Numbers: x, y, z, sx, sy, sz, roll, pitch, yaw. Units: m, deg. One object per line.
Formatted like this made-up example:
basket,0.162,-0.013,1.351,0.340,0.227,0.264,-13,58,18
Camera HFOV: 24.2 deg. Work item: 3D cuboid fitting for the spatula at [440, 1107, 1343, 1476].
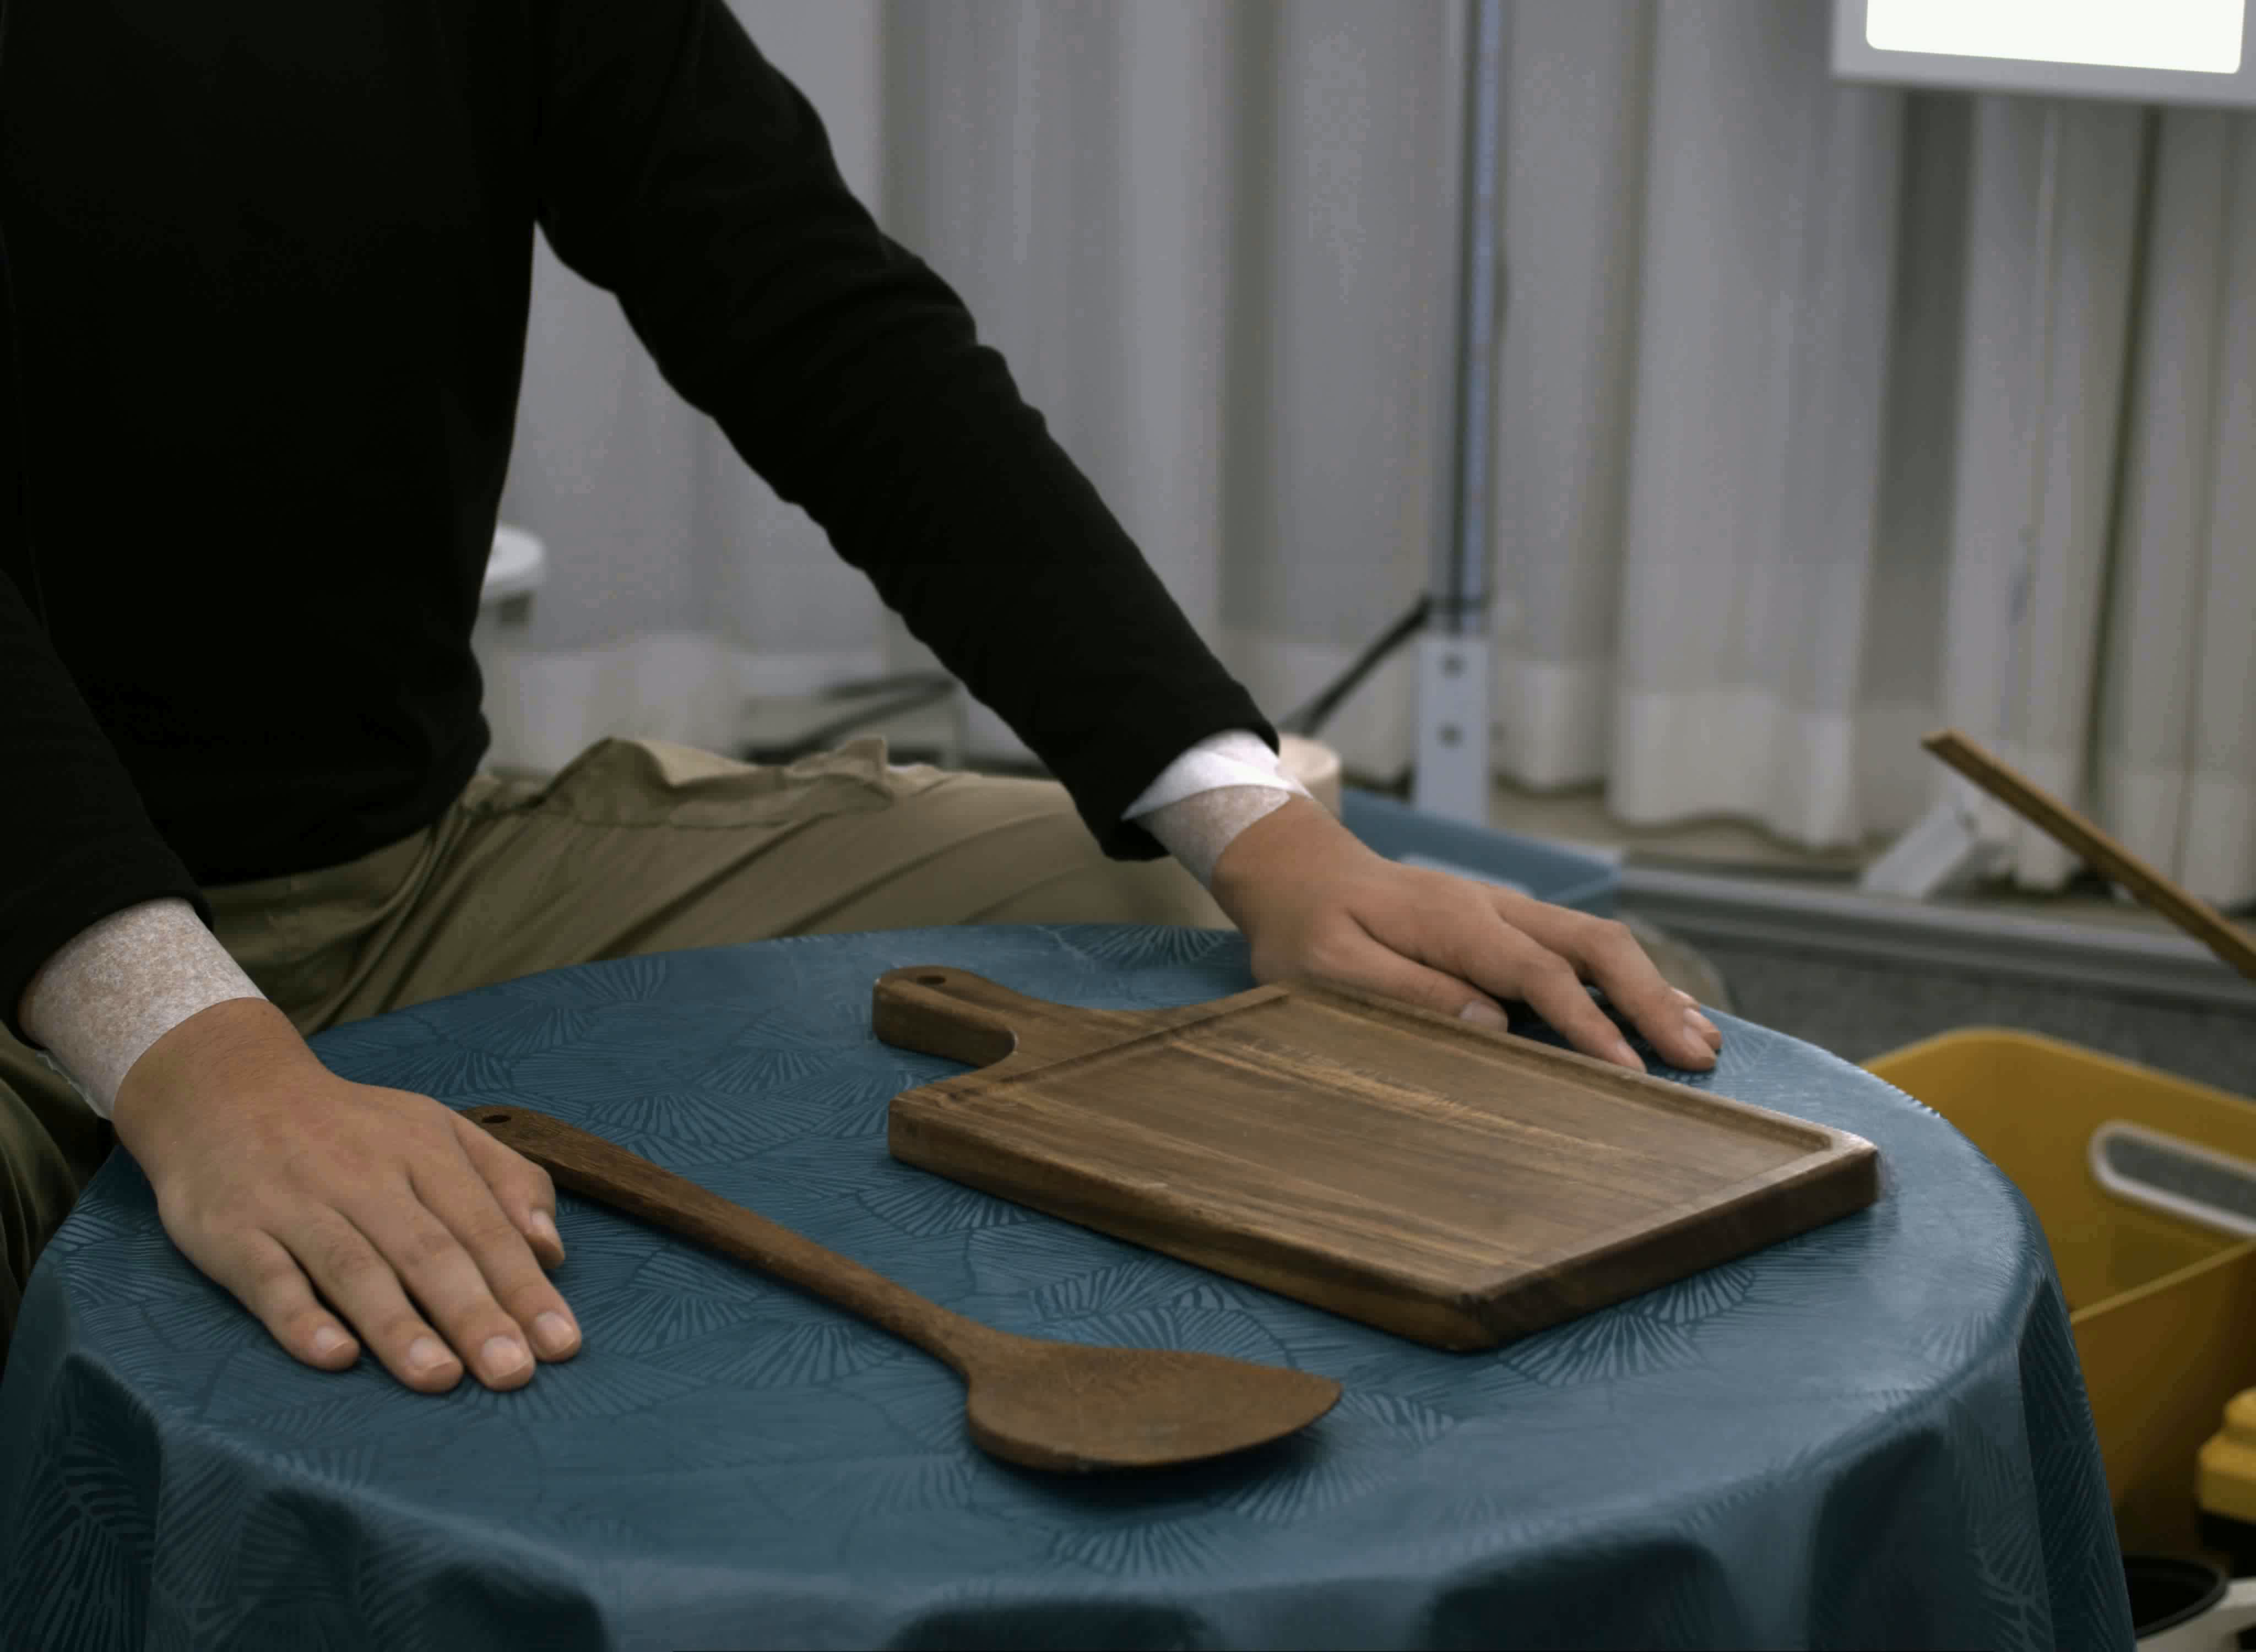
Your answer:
spatula,-0.091,0.129,1.530,0.096,0.016,0.381,-12,19,-39

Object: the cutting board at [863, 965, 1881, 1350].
cutting board,0.043,0.090,1.663,0.347,0.023,0.202,15,21,42
